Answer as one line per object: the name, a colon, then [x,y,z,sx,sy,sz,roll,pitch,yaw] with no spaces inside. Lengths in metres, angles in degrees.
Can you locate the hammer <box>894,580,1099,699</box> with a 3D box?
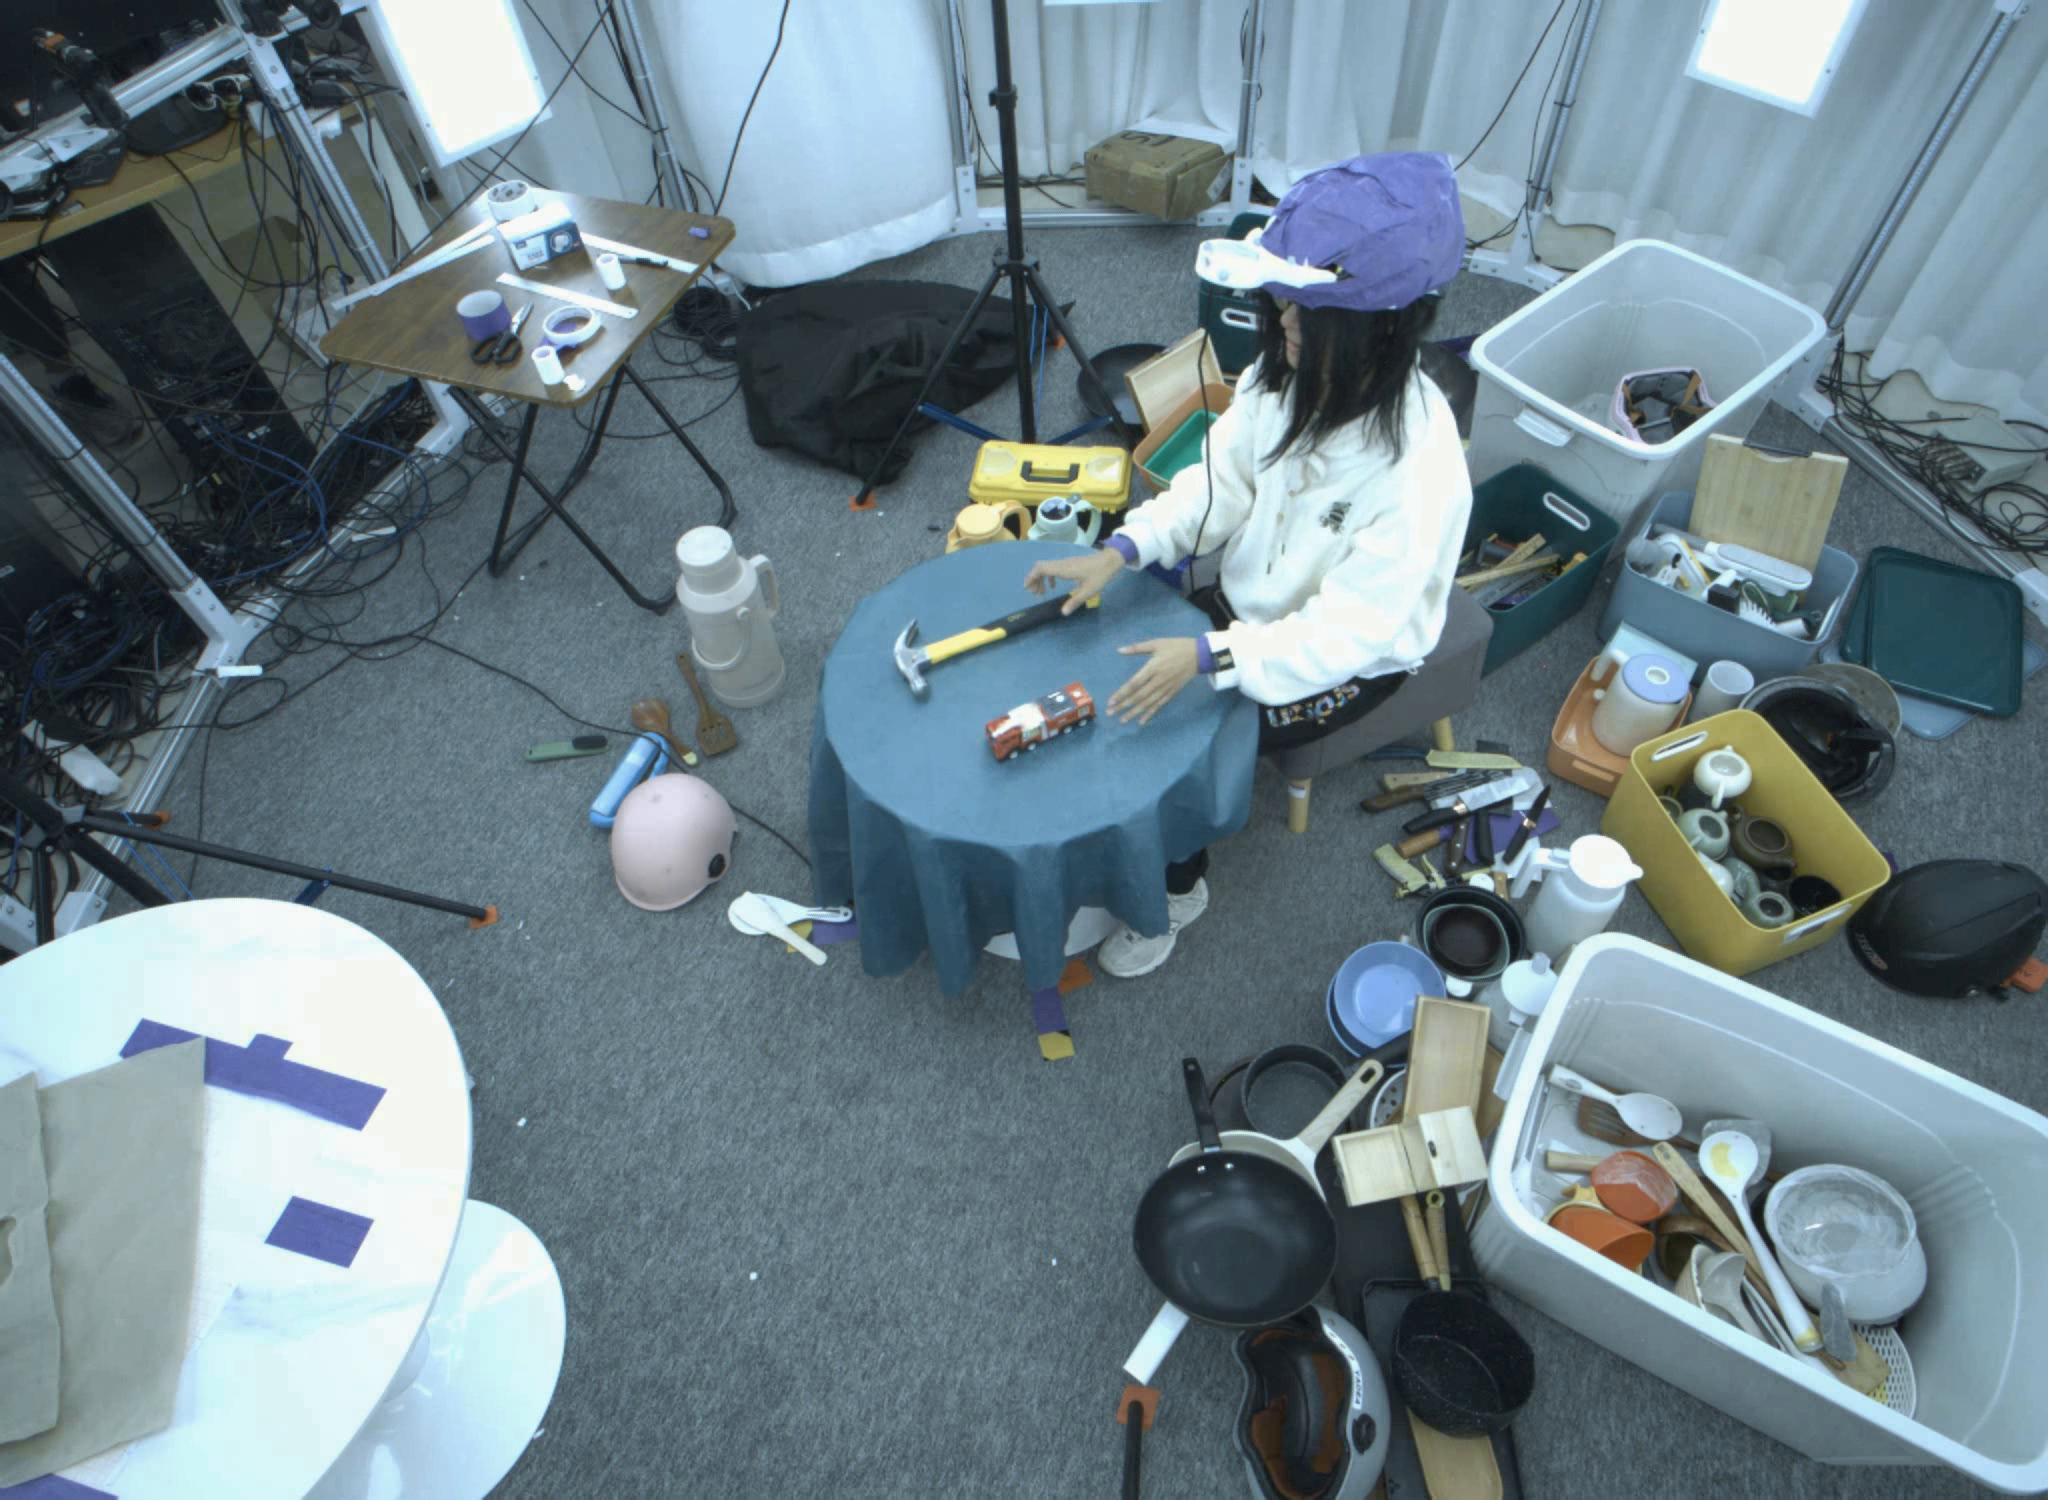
hammer: [-0.040,-0.190,1.900,0.341,0.032,0.129,-22,56,-12]

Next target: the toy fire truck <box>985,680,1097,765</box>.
toy fire truck: [0.022,-0.040,1.780,0.169,0.071,0.053,-25,57,-16]
